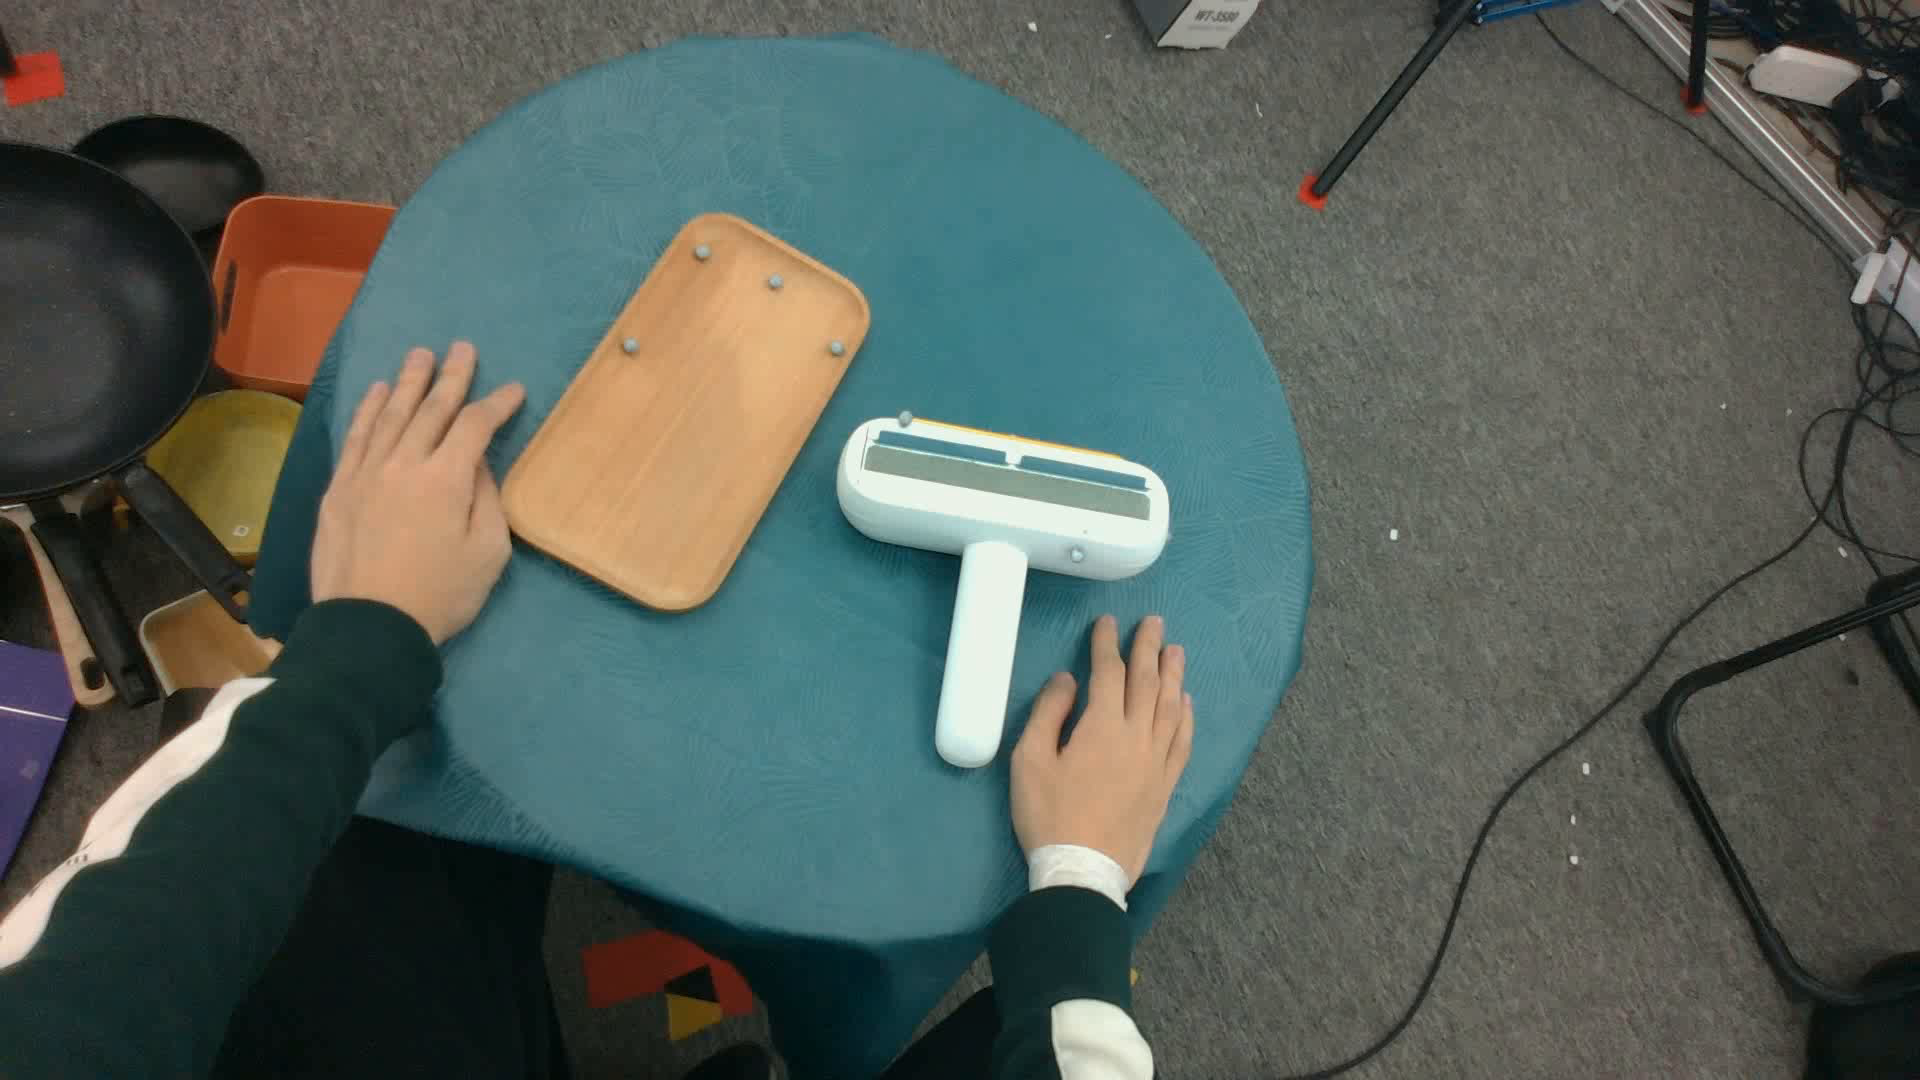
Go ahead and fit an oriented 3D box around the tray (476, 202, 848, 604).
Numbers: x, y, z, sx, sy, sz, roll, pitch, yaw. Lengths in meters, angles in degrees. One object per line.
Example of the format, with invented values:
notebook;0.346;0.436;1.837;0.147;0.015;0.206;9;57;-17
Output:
tray;-0.163;-0.084;0.791;0.130;0.023;0.252;28;61;-4

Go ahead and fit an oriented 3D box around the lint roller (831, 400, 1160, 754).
lint roller;0.006;0.028;0.793;0.193;0.074;0.193;16;77;-6
